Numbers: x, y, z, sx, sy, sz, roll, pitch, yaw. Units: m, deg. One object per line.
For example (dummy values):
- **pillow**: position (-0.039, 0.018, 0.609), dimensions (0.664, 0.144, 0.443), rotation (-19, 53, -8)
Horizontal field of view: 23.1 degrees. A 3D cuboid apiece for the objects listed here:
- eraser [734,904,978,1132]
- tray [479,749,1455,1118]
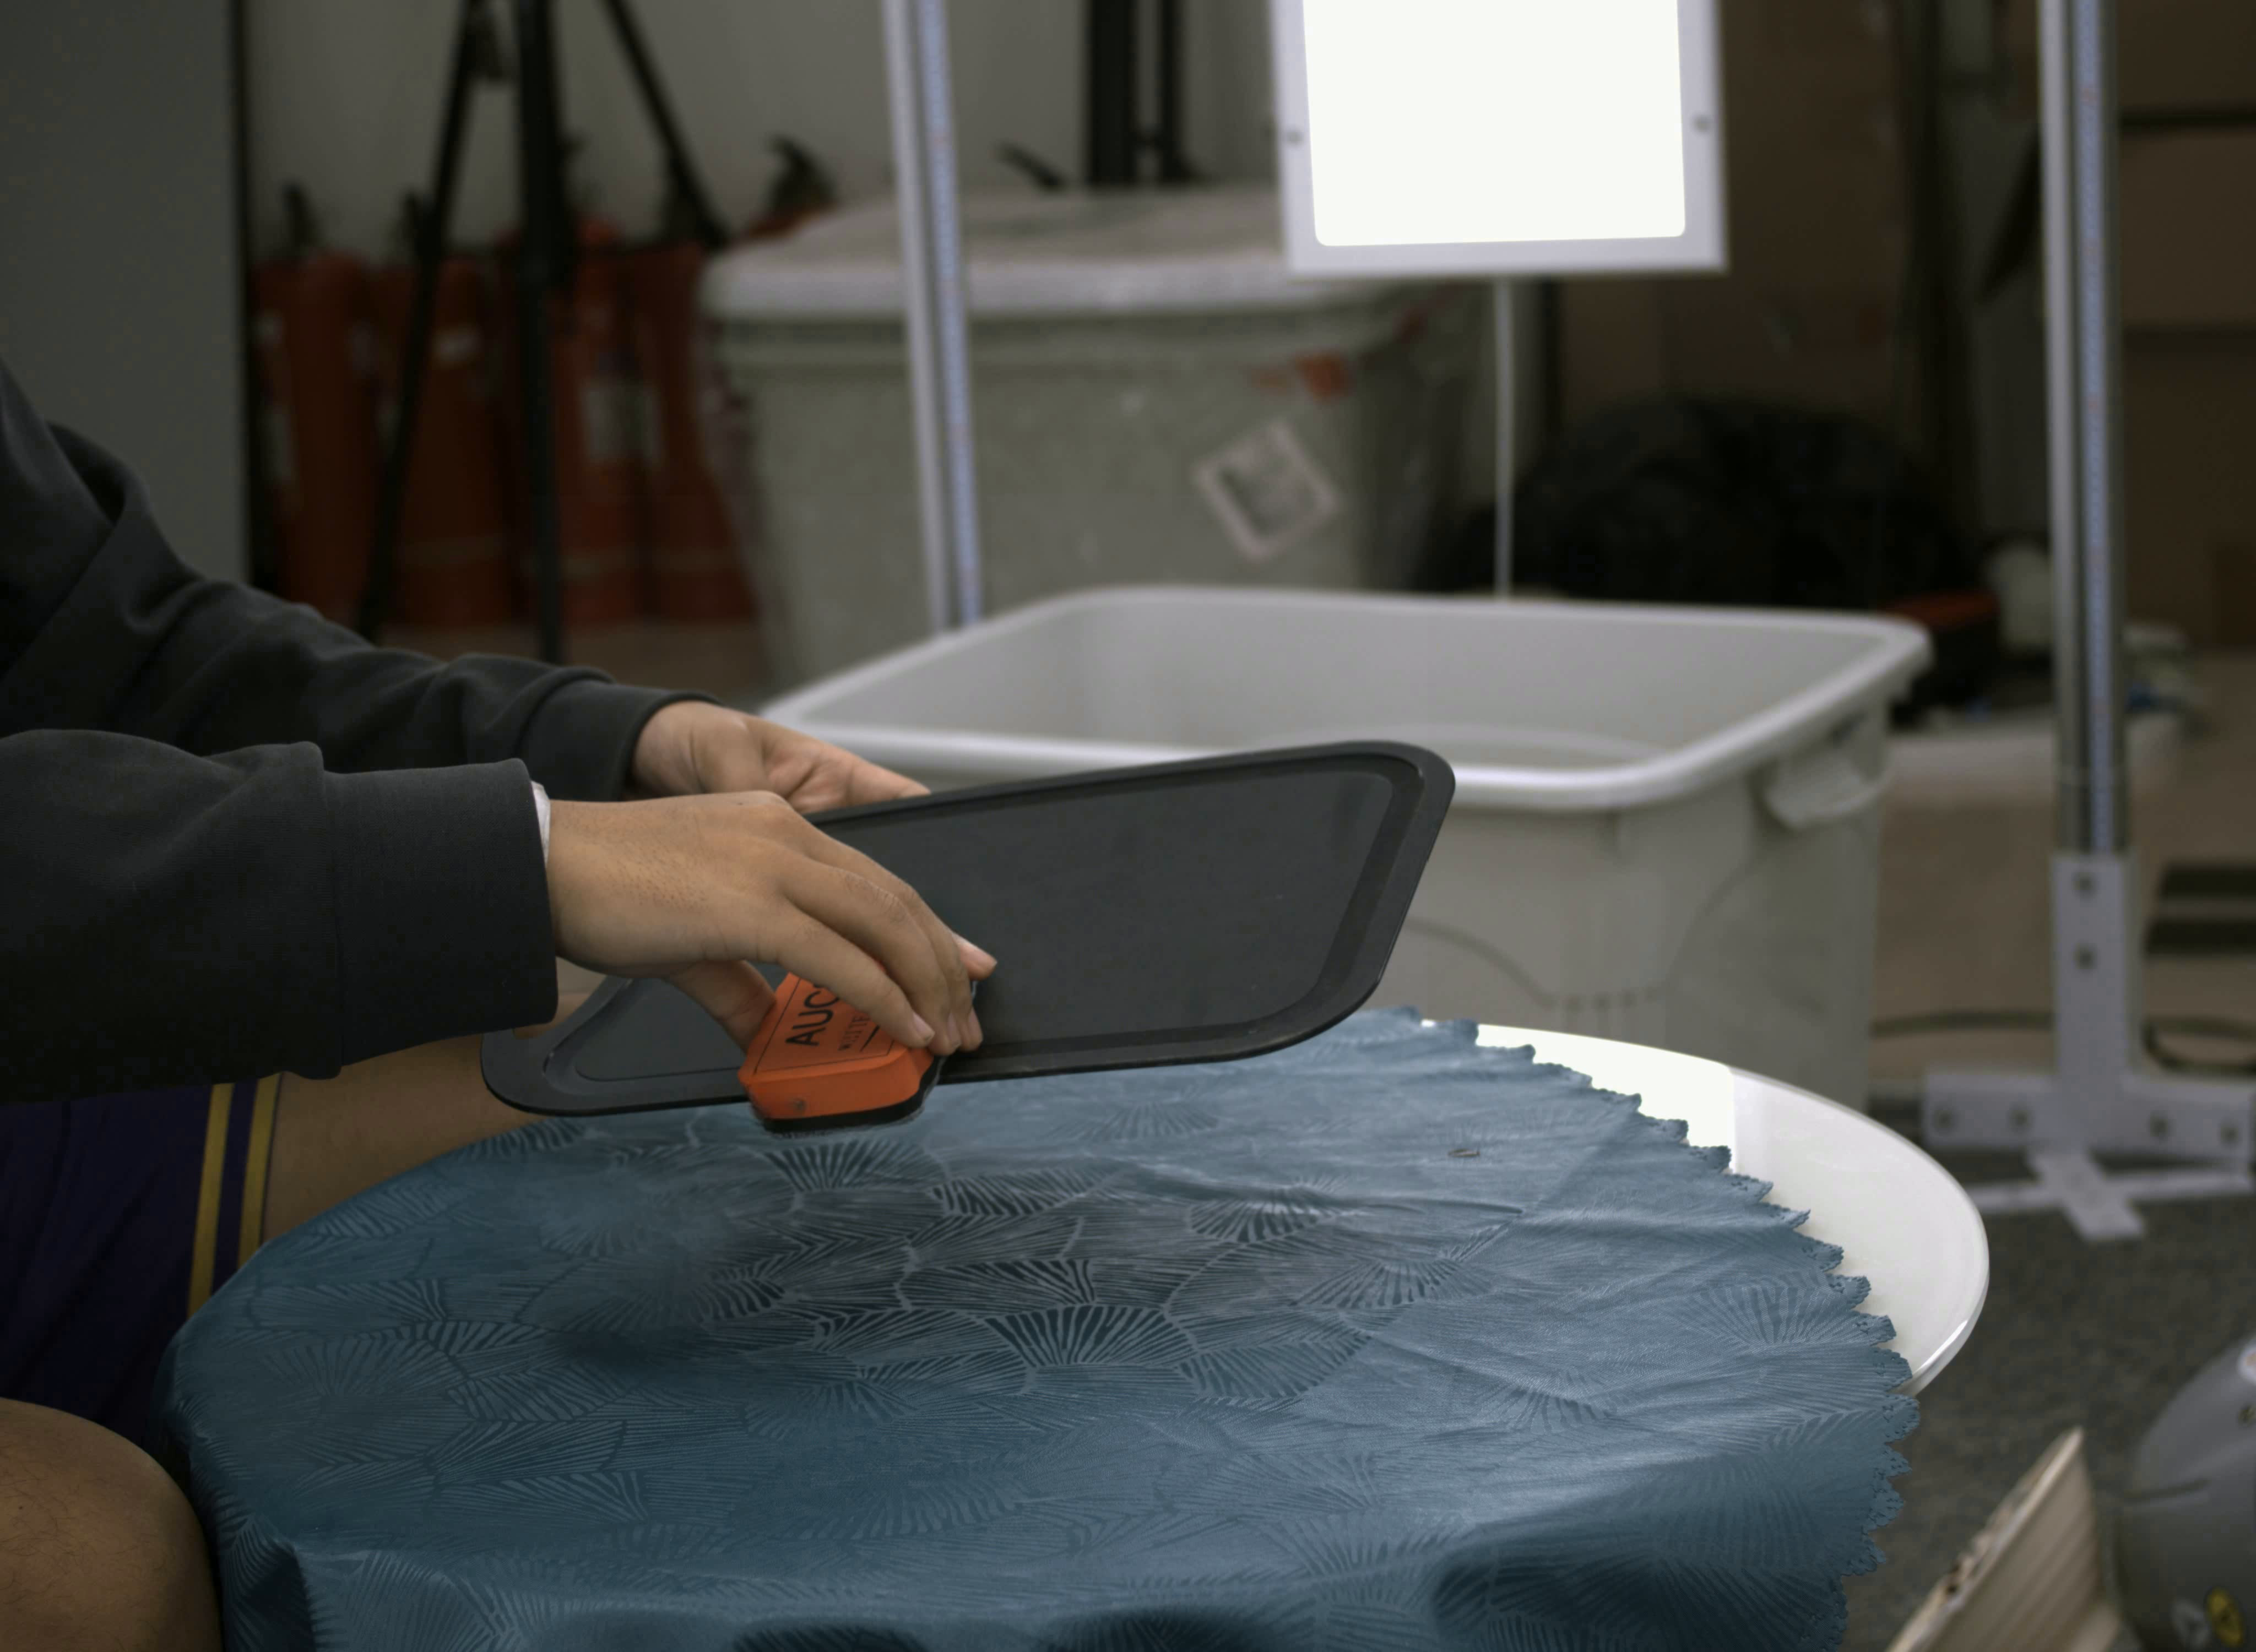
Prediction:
- **eraser**: position (-0.086, 0.060, 1.755), dimensions (0.059, 0.023, 0.107), rotation (-9, 23, 16)
- **tray**: position (-0.059, 0.034, 1.828), dimensions (0.330, 0.010, 0.208), rotation (-6, 26, 21)
